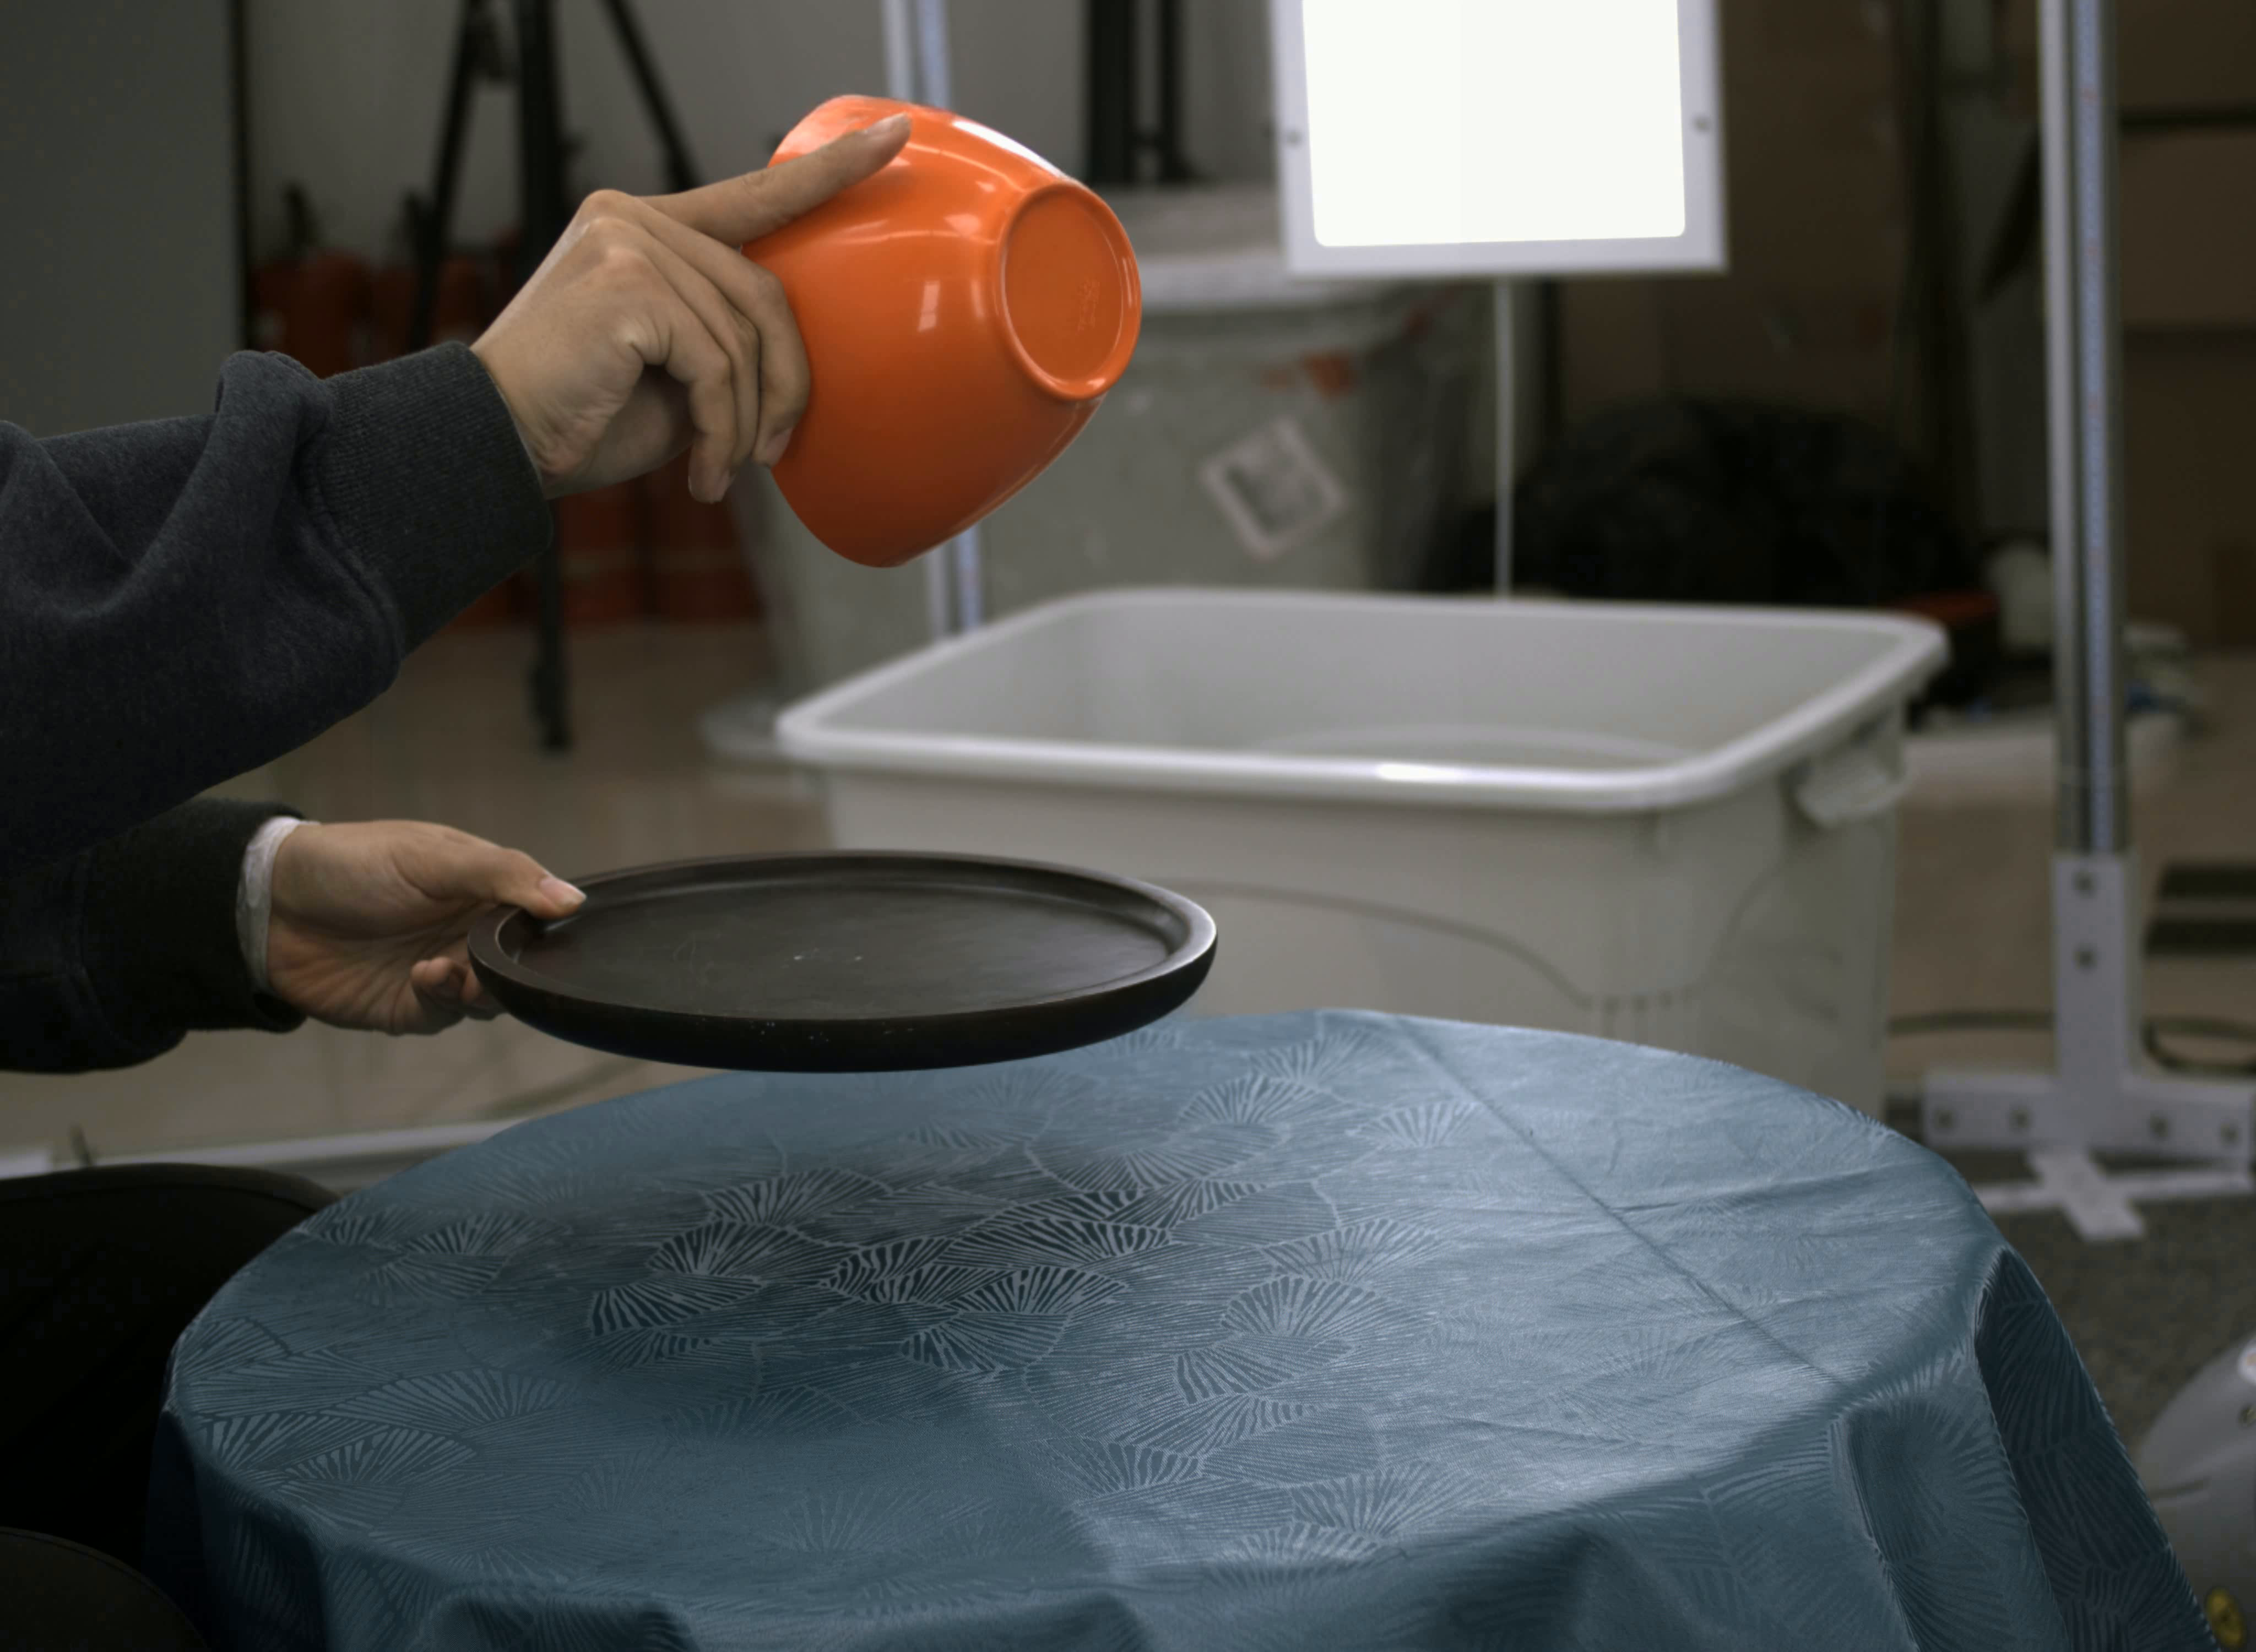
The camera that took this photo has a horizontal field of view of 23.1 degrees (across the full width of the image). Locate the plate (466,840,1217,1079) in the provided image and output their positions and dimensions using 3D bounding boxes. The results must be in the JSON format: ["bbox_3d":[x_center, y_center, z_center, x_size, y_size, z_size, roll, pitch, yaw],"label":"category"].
[{"bbox_3d":[-0.096,0.045,1.853,0.254,0.029,0.254,-1,13,-1],"label":"plate"}]

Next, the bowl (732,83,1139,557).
[{"bbox_3d":[-0.048,-0.159,1.691,0.107,0.148,0.144,-2,11,43],"label":"bowl"}]
